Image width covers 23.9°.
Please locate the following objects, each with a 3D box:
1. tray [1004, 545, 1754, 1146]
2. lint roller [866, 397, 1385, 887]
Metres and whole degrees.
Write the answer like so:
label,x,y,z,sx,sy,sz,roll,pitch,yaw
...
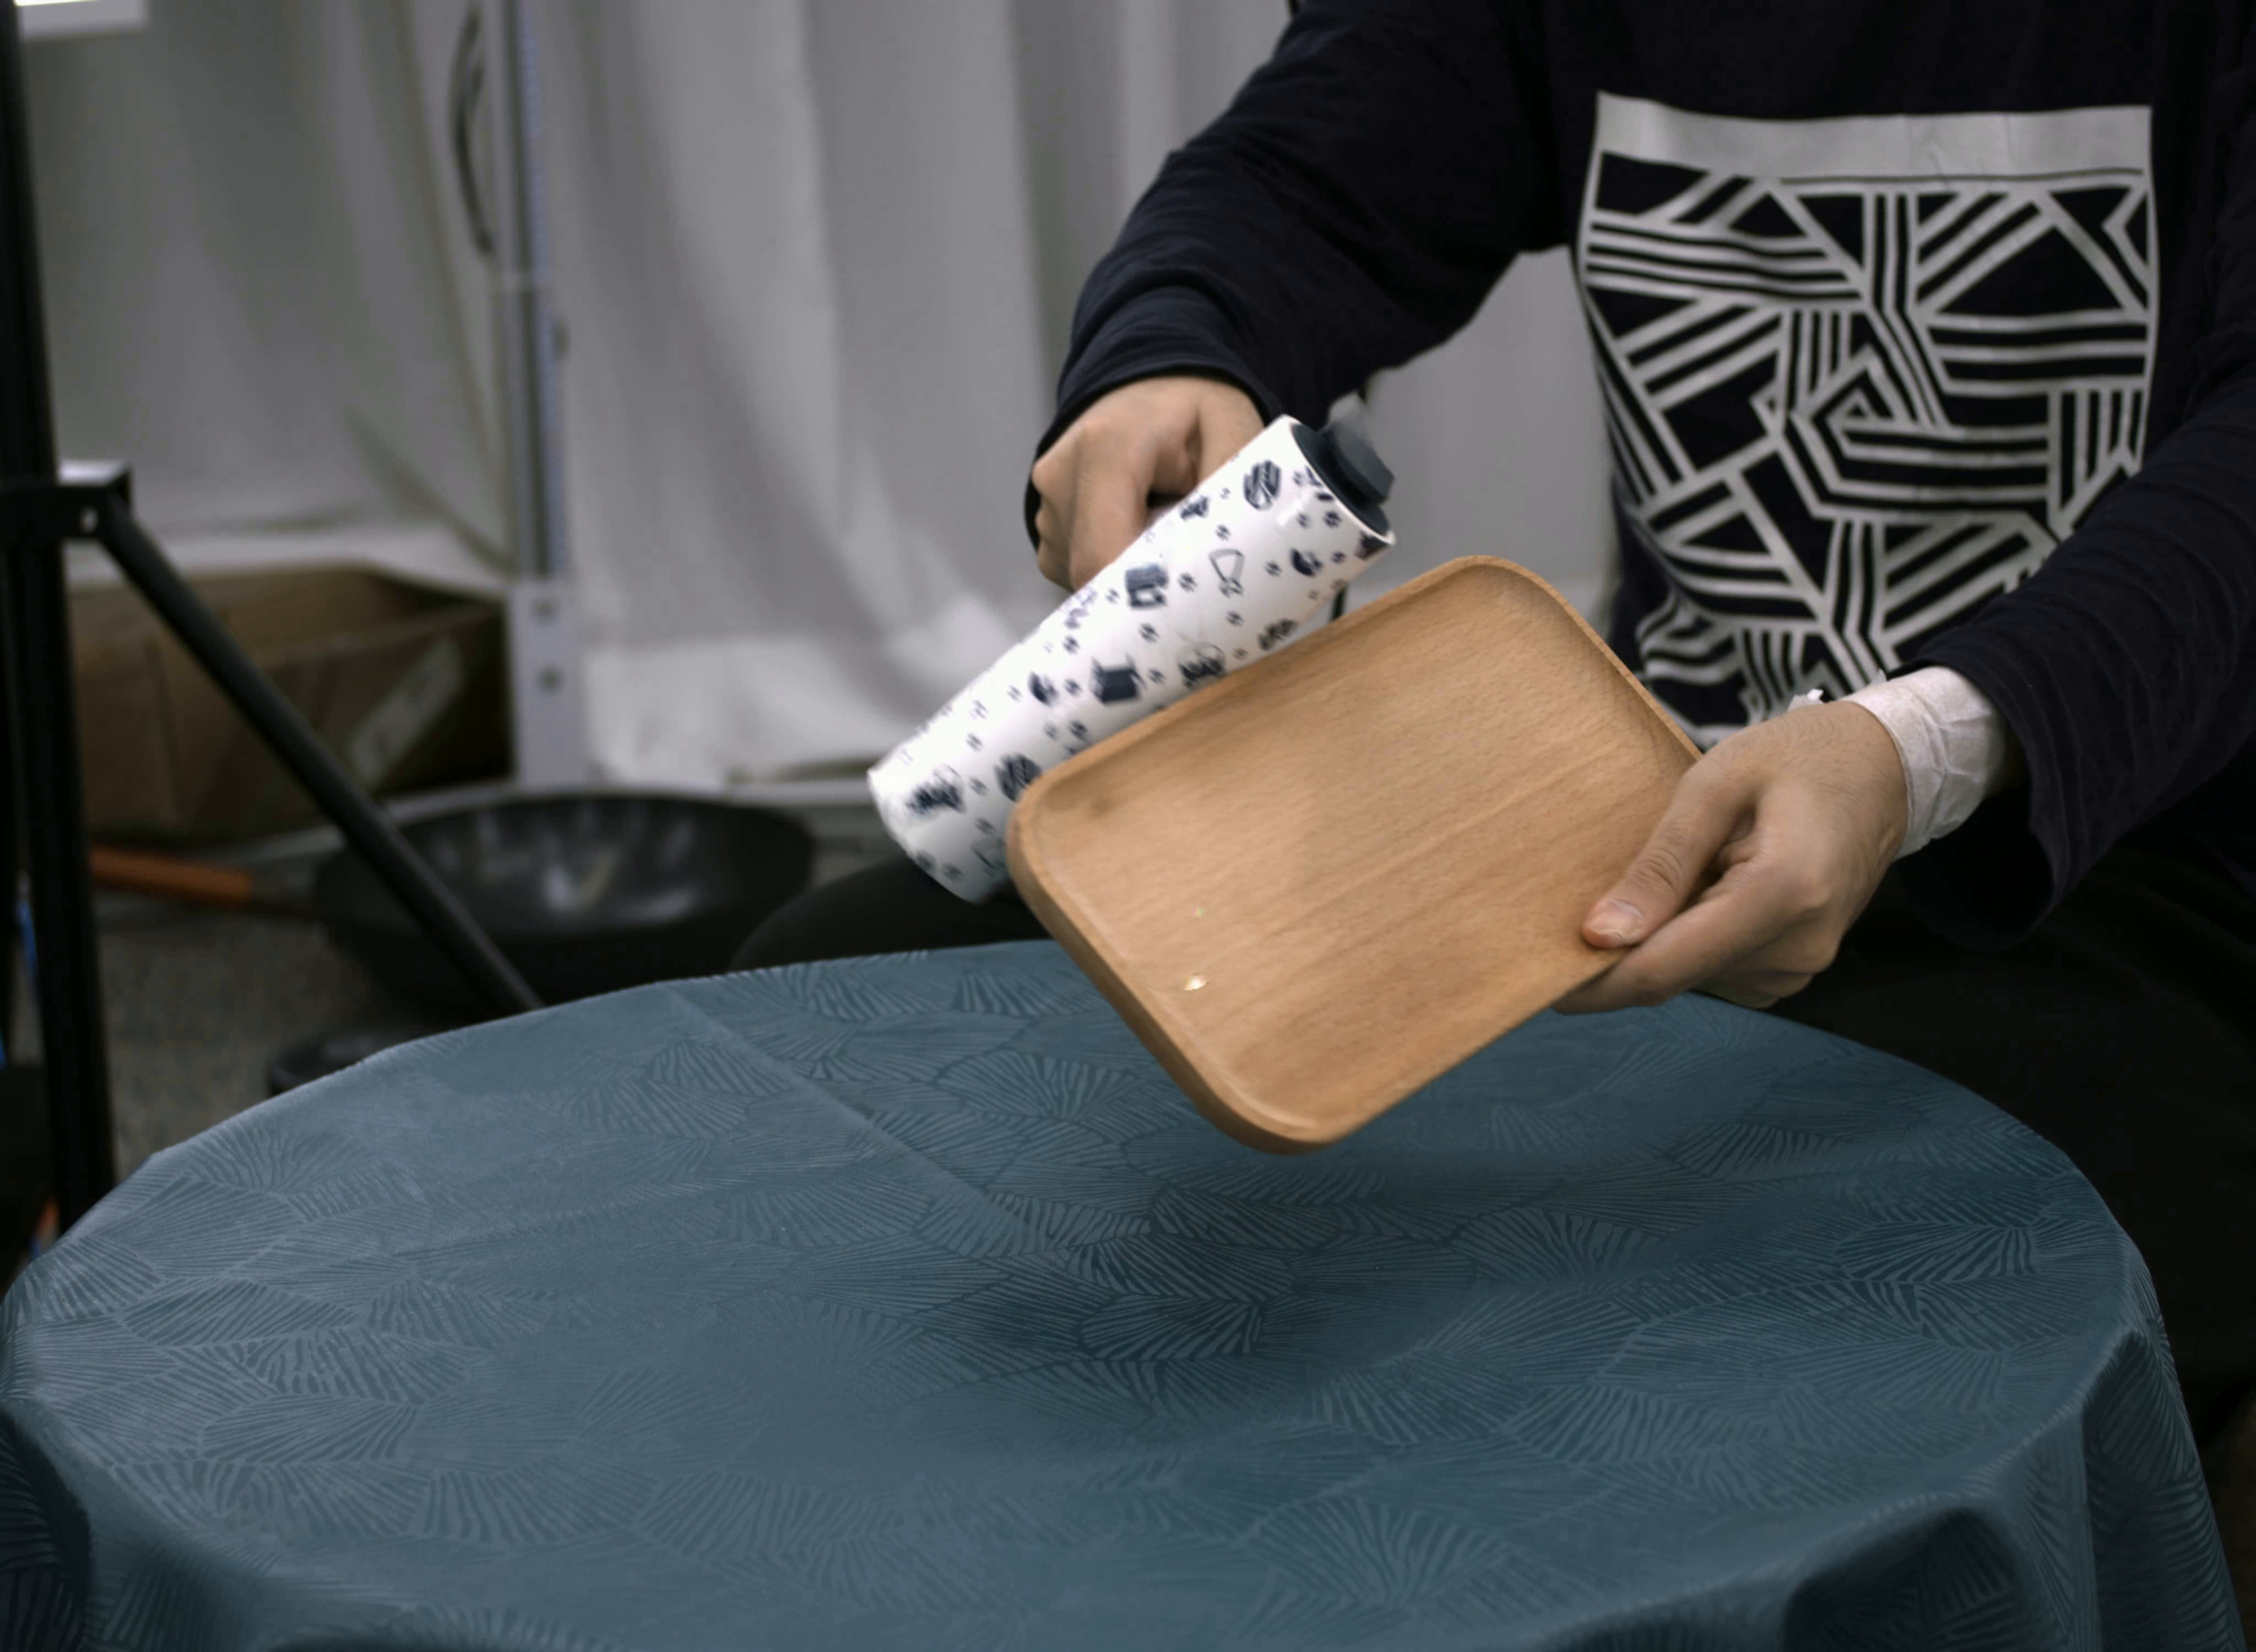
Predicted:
label,x,y,z,sx,sy,sz,roll,pitch,yaw
tray,0.073,0.003,1.476,0.246,0.132,0.023,-25,-16,-45
lint roller,0.010,-0.073,1.591,0.177,0.050,0.246,-41,6,14
